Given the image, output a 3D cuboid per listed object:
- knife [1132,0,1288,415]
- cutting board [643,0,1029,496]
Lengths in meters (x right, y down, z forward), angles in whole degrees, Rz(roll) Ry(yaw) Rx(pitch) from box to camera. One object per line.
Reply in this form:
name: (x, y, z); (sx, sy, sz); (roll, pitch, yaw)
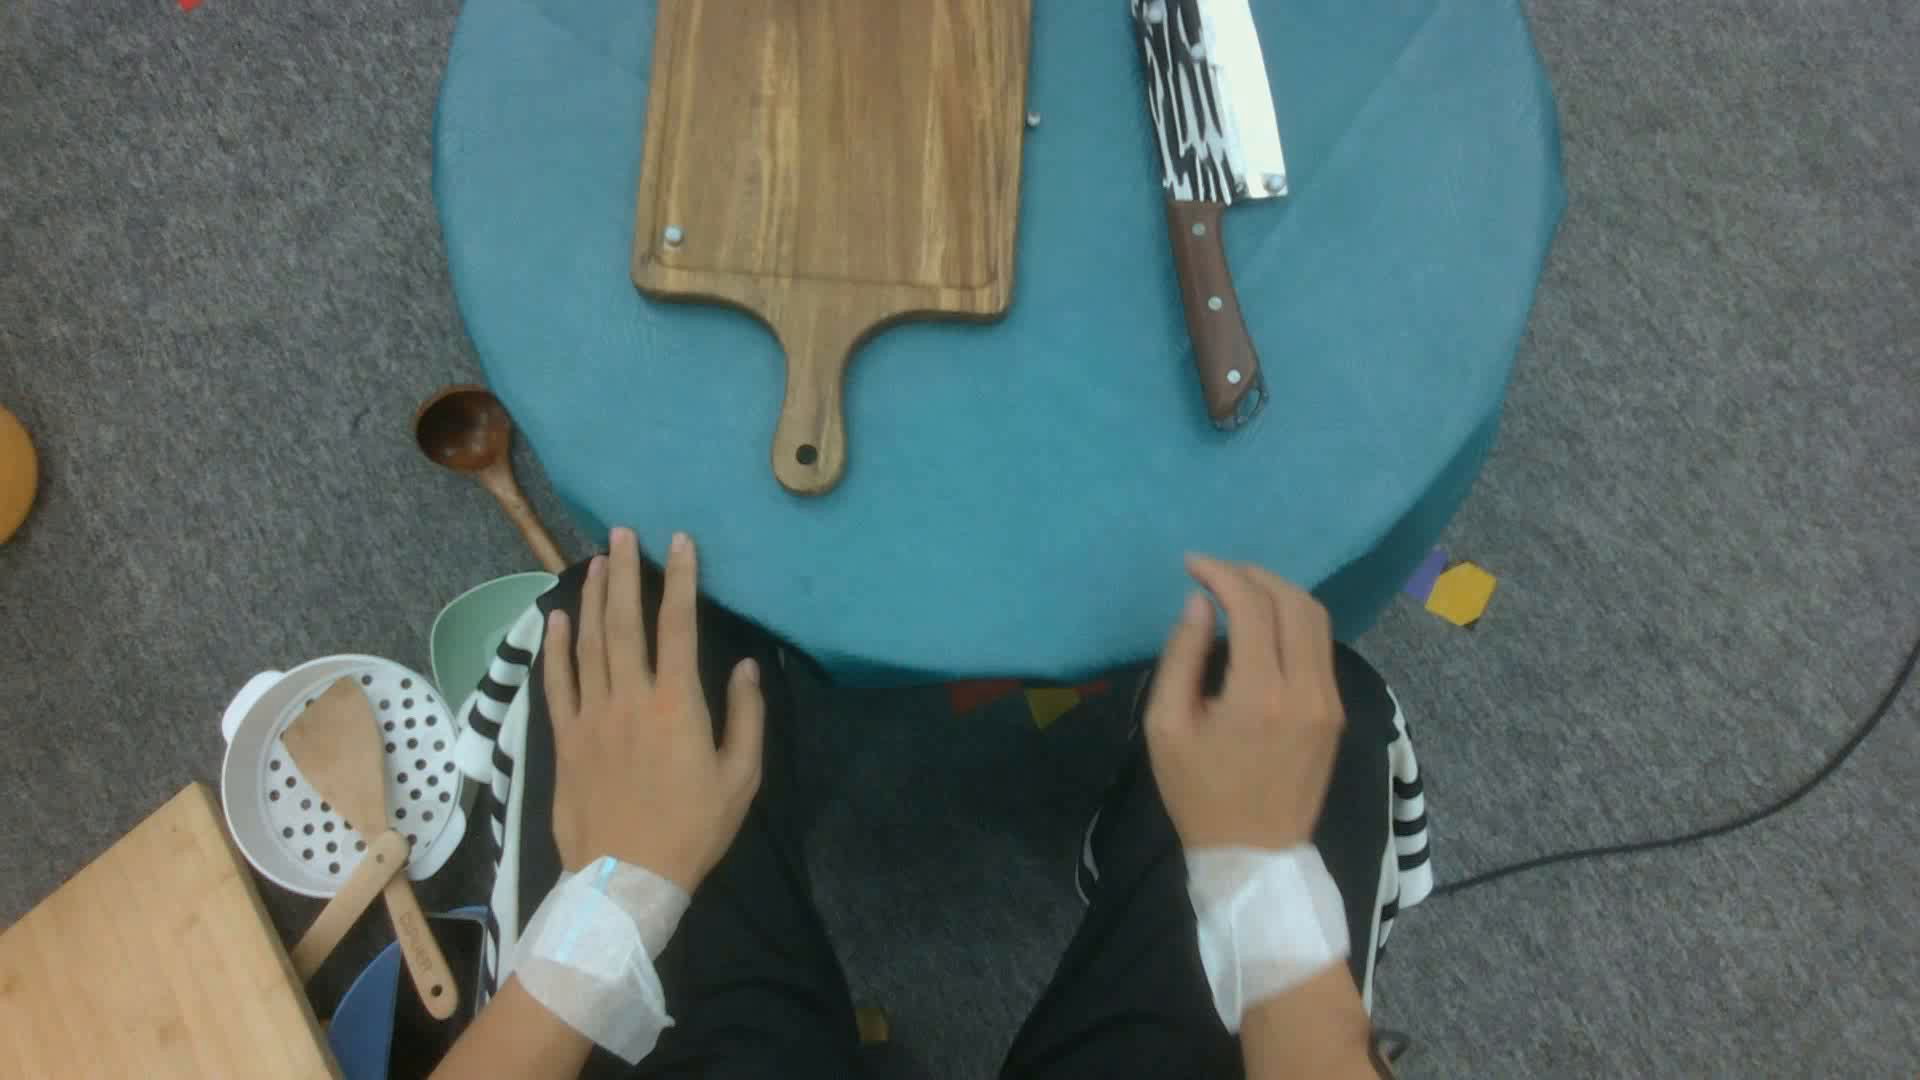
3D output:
knife: (0.139, -0.212, 0.737); (0.068, 0.024, 0.300); (-6, 77, -3)
cutting board: (-0.065, -0.198, 0.736); (0.201, 0.023, 0.352); (3, 81, -1)
